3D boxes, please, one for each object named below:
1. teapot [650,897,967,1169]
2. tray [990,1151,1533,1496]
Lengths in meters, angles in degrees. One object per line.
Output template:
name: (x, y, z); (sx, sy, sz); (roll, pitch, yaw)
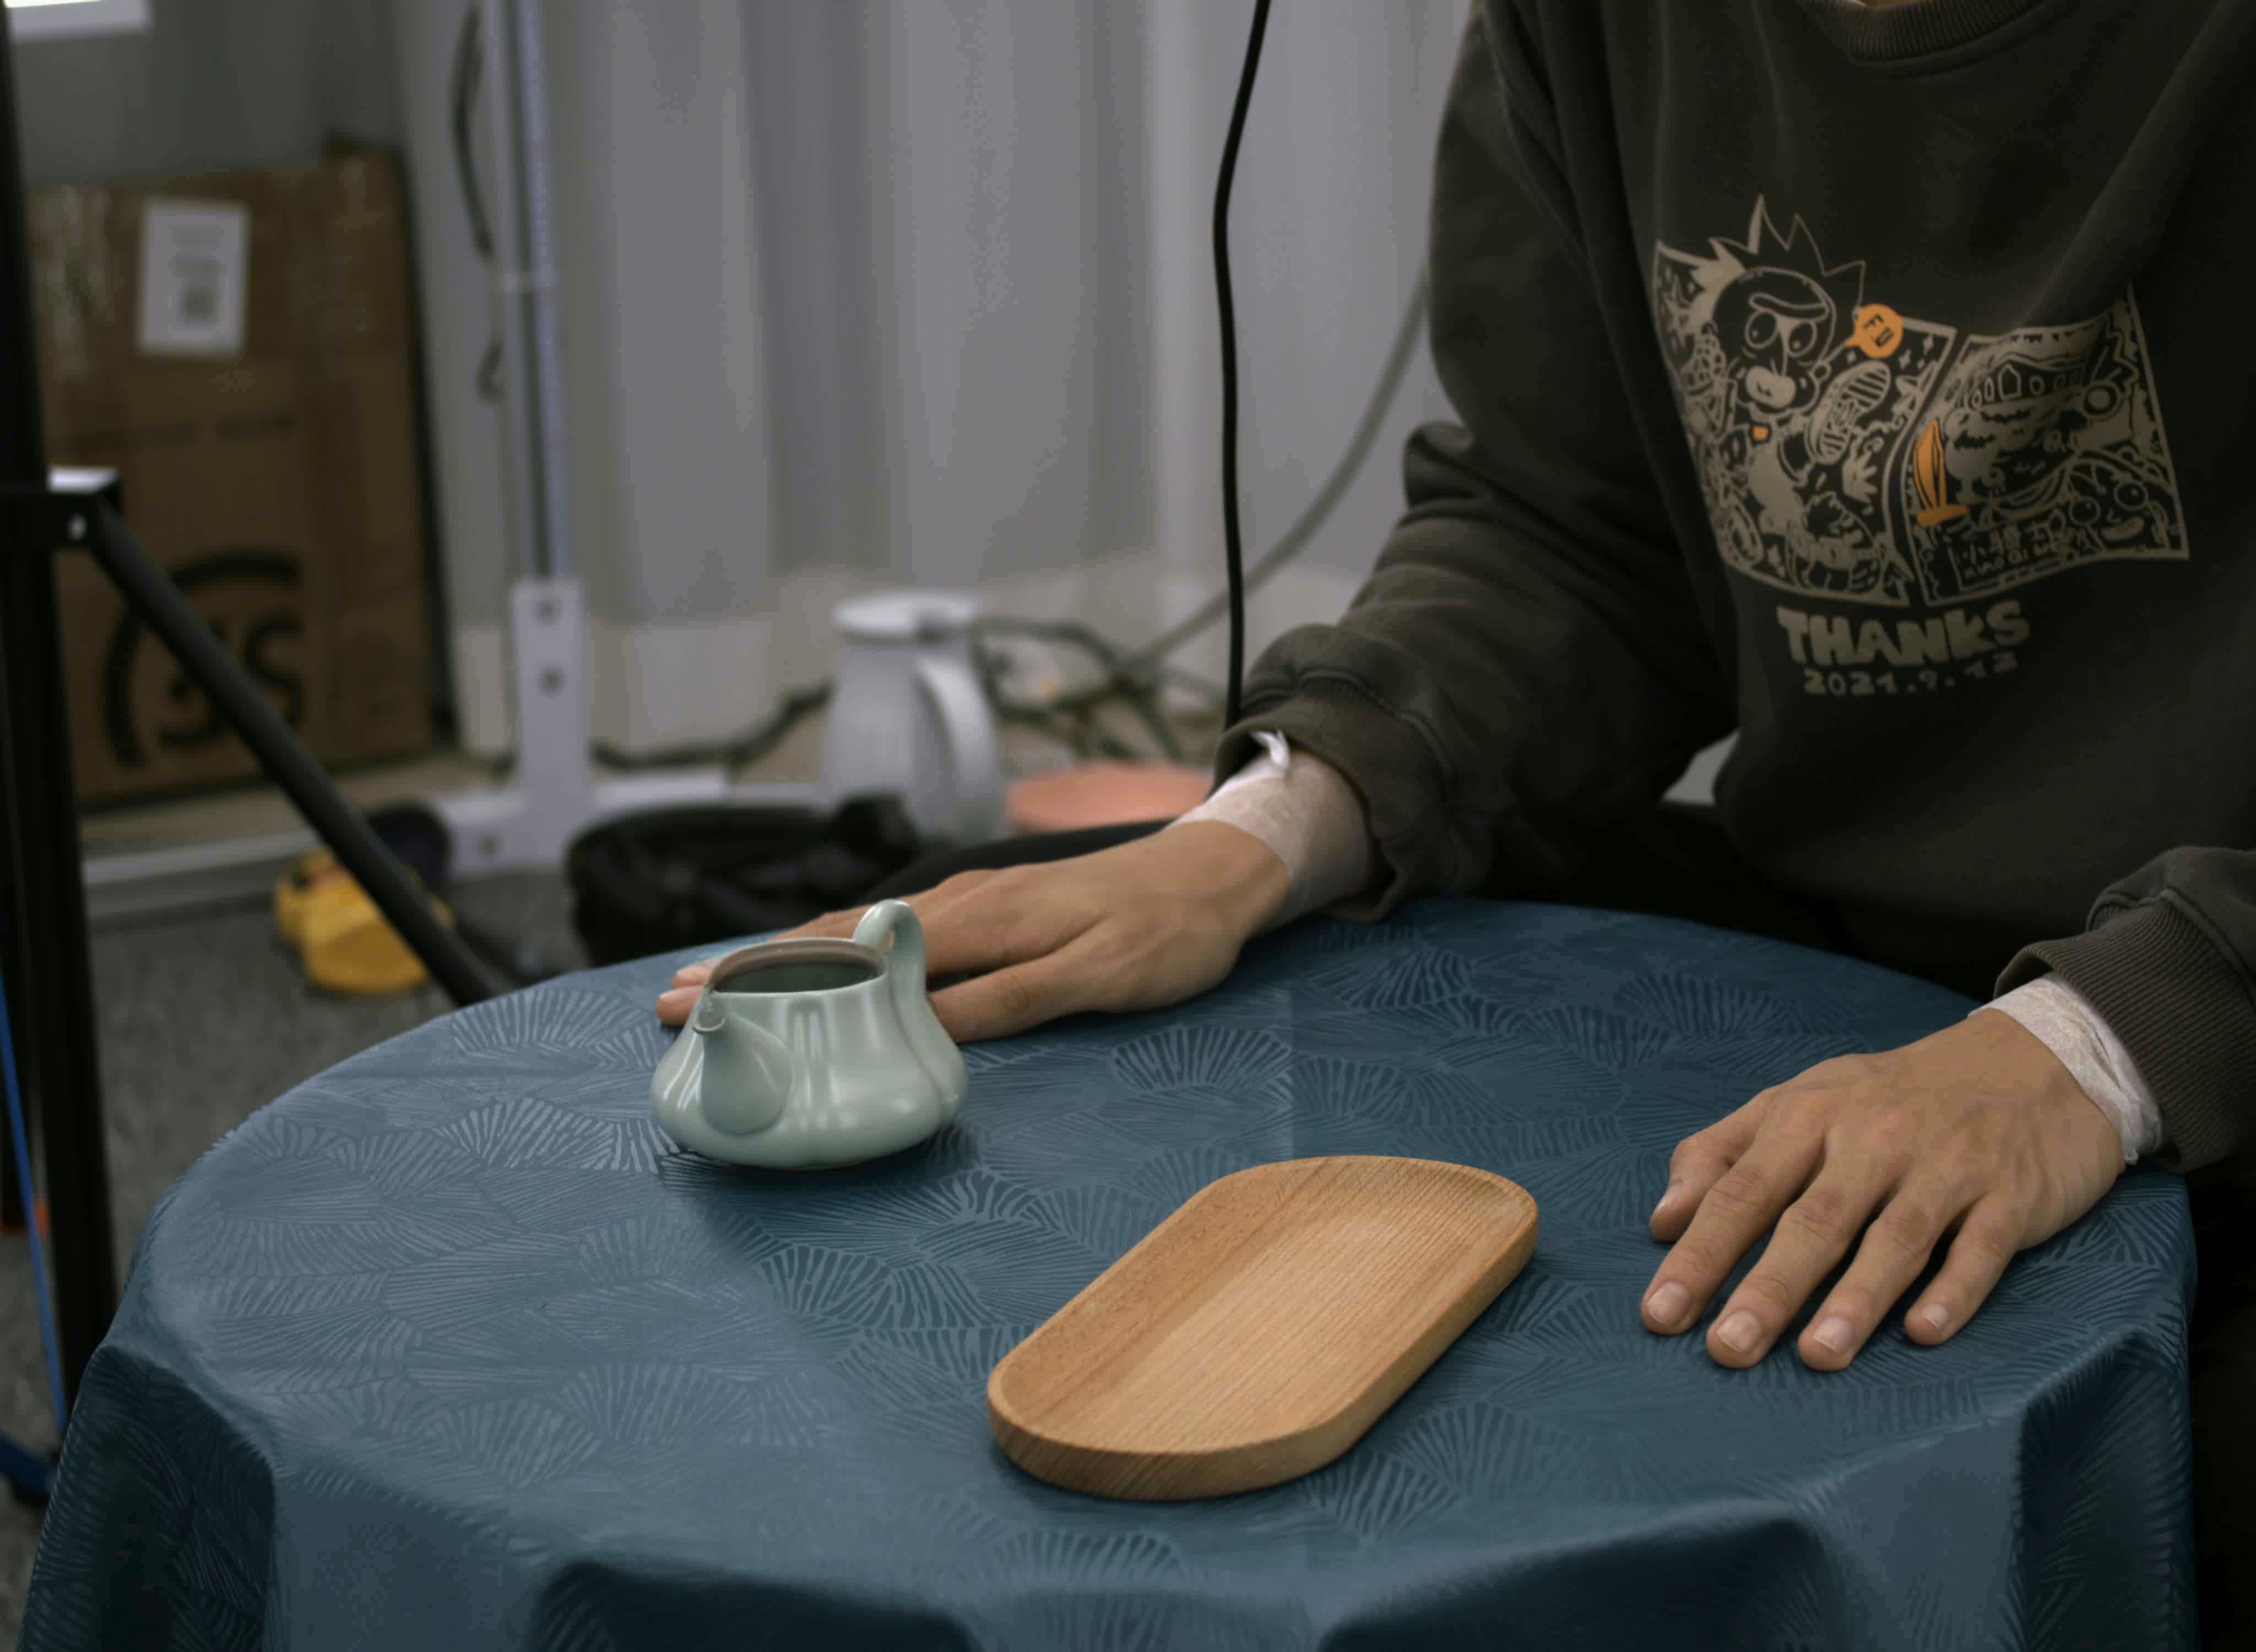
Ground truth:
teapot: (-0.096, 0.066, 1.618); (0.097, 0.061, 0.135); (2, 17, 22)
tray: (0.040, 0.132, 1.438); (0.103, 0.020, 0.228); (4, 16, 23)
